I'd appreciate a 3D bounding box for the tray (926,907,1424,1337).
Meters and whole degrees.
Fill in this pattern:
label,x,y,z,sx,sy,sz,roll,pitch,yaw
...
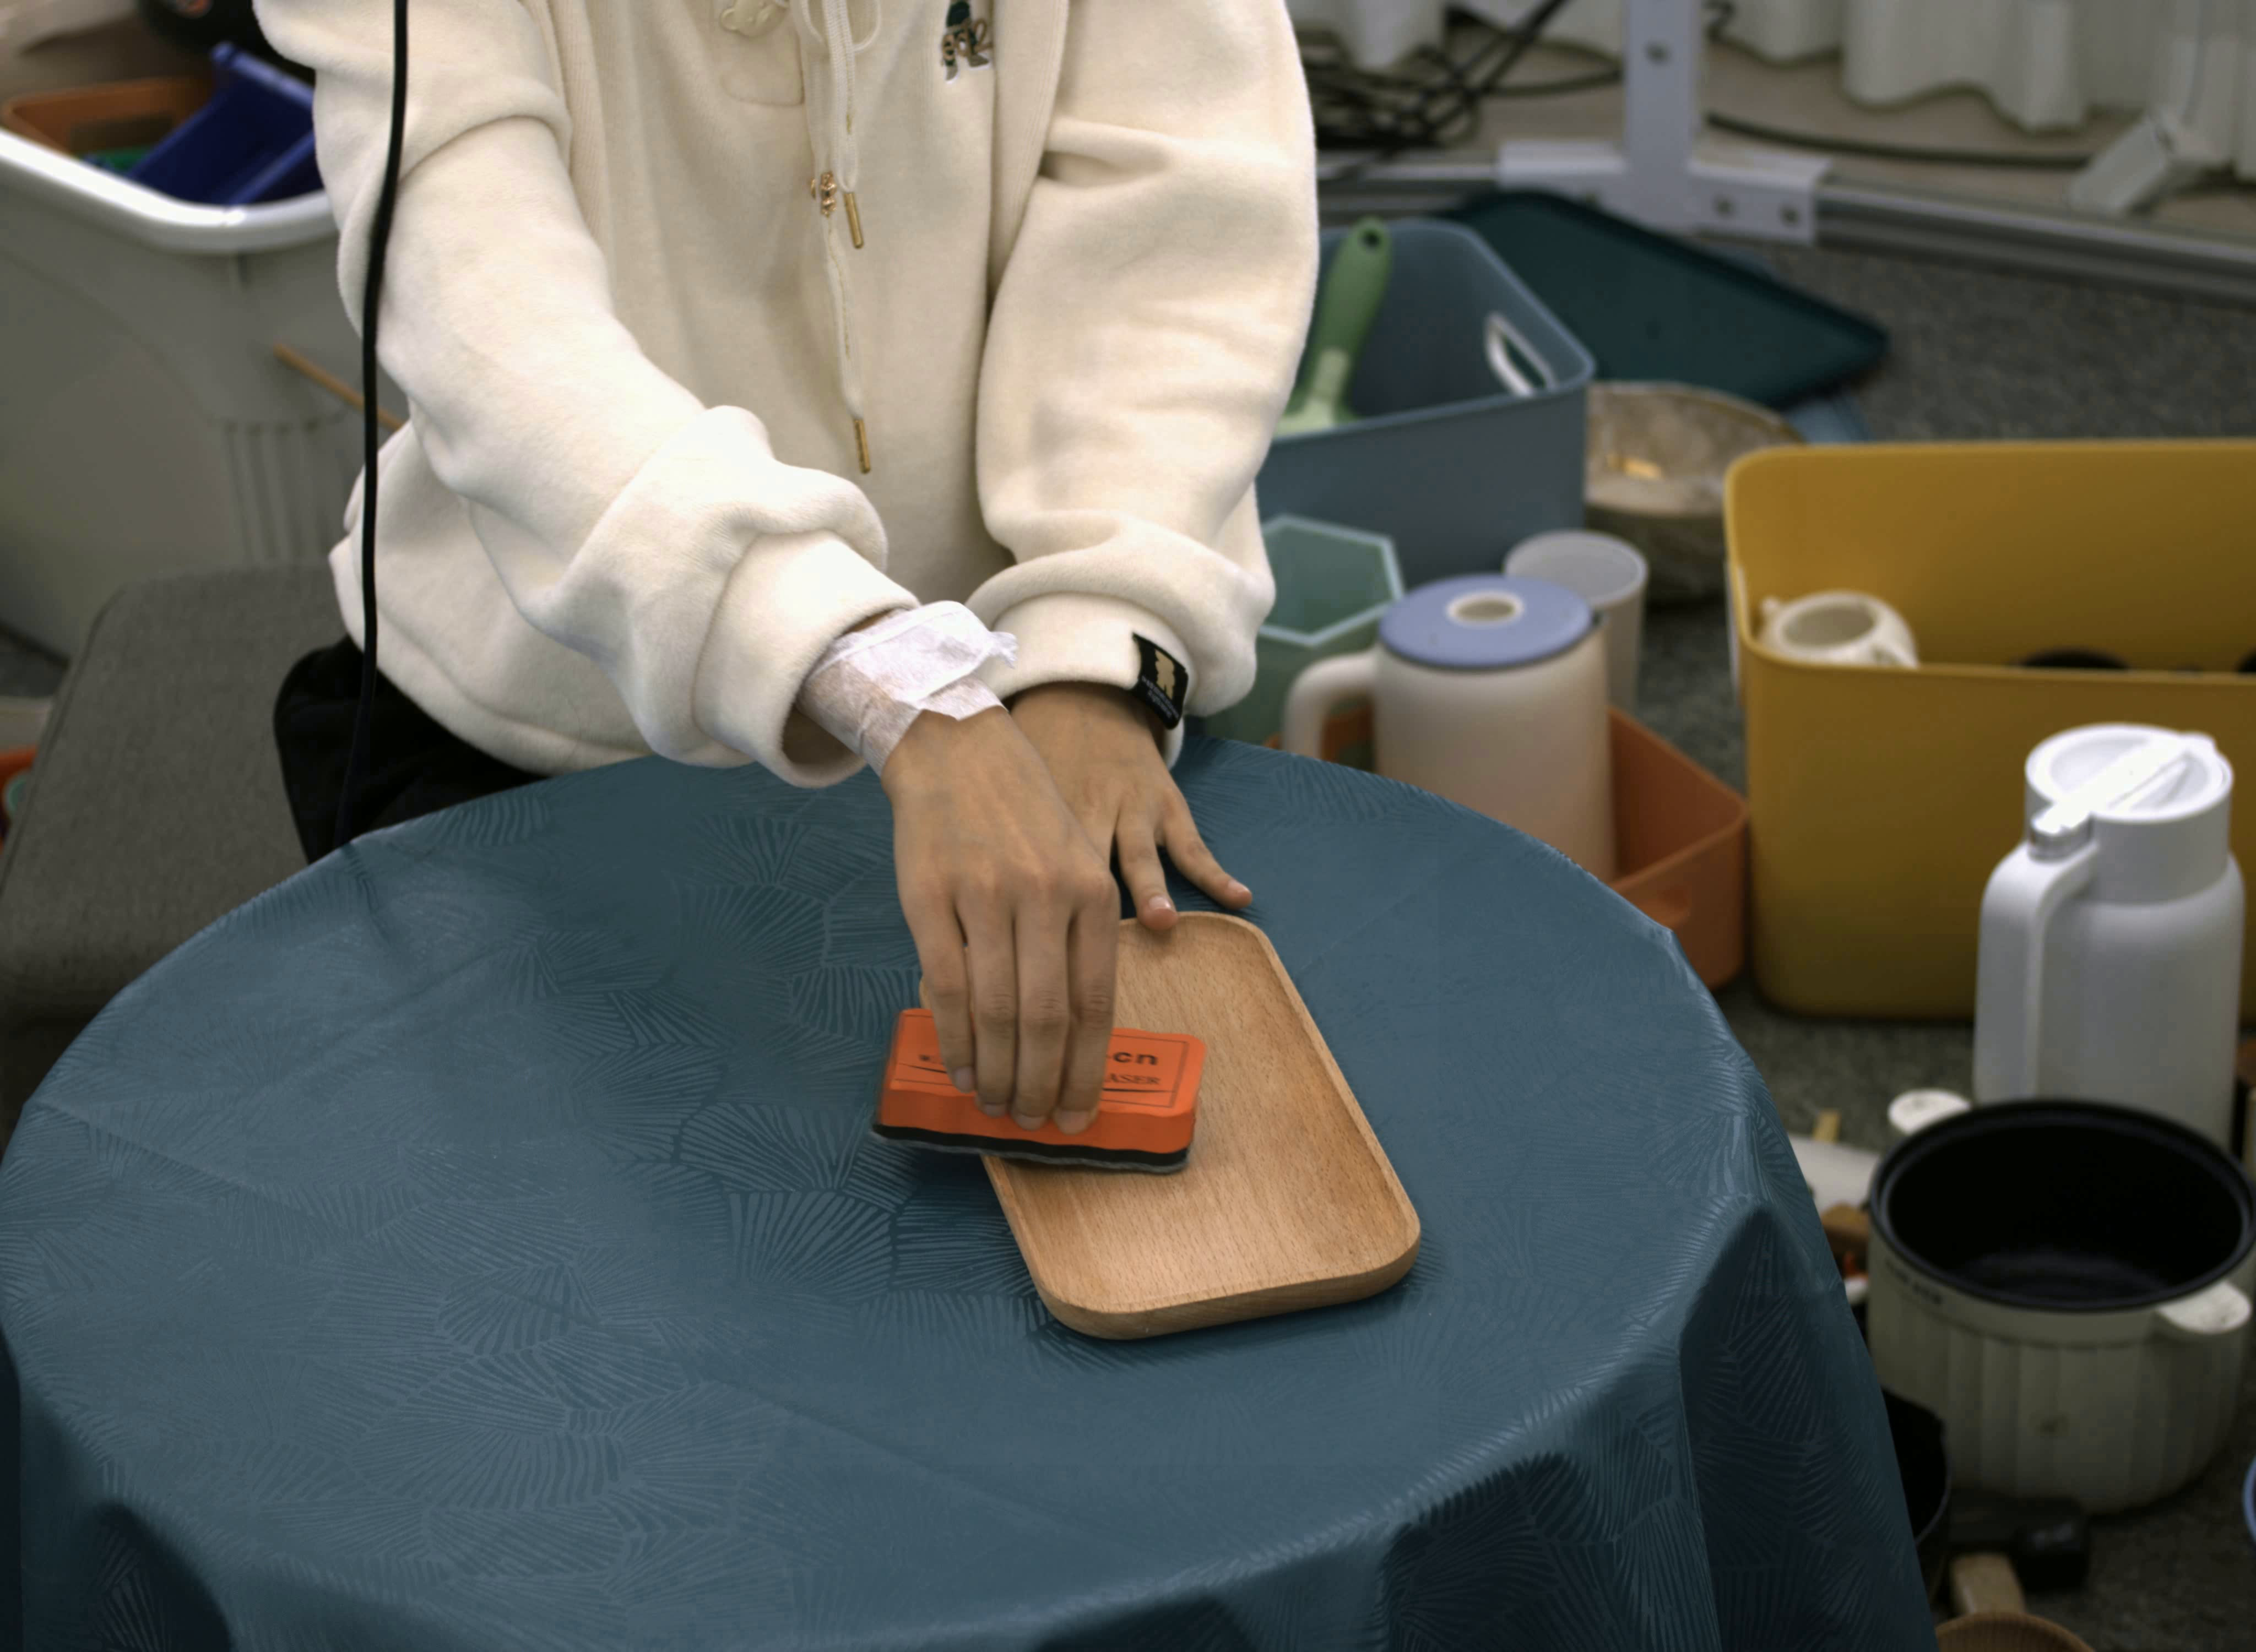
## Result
label,x,y,z,sx,sy,sz,roll,pitch,yaw
tray,0.012,0.097,1.888,0.130,0.022,0.253,-5,27,-10

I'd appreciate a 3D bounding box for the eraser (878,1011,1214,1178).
label,x,y,z,sx,sy,sz,roll,pitch,yaw
eraser,-0.027,0.089,1.875,0.107,0.022,0.060,6,27,7
